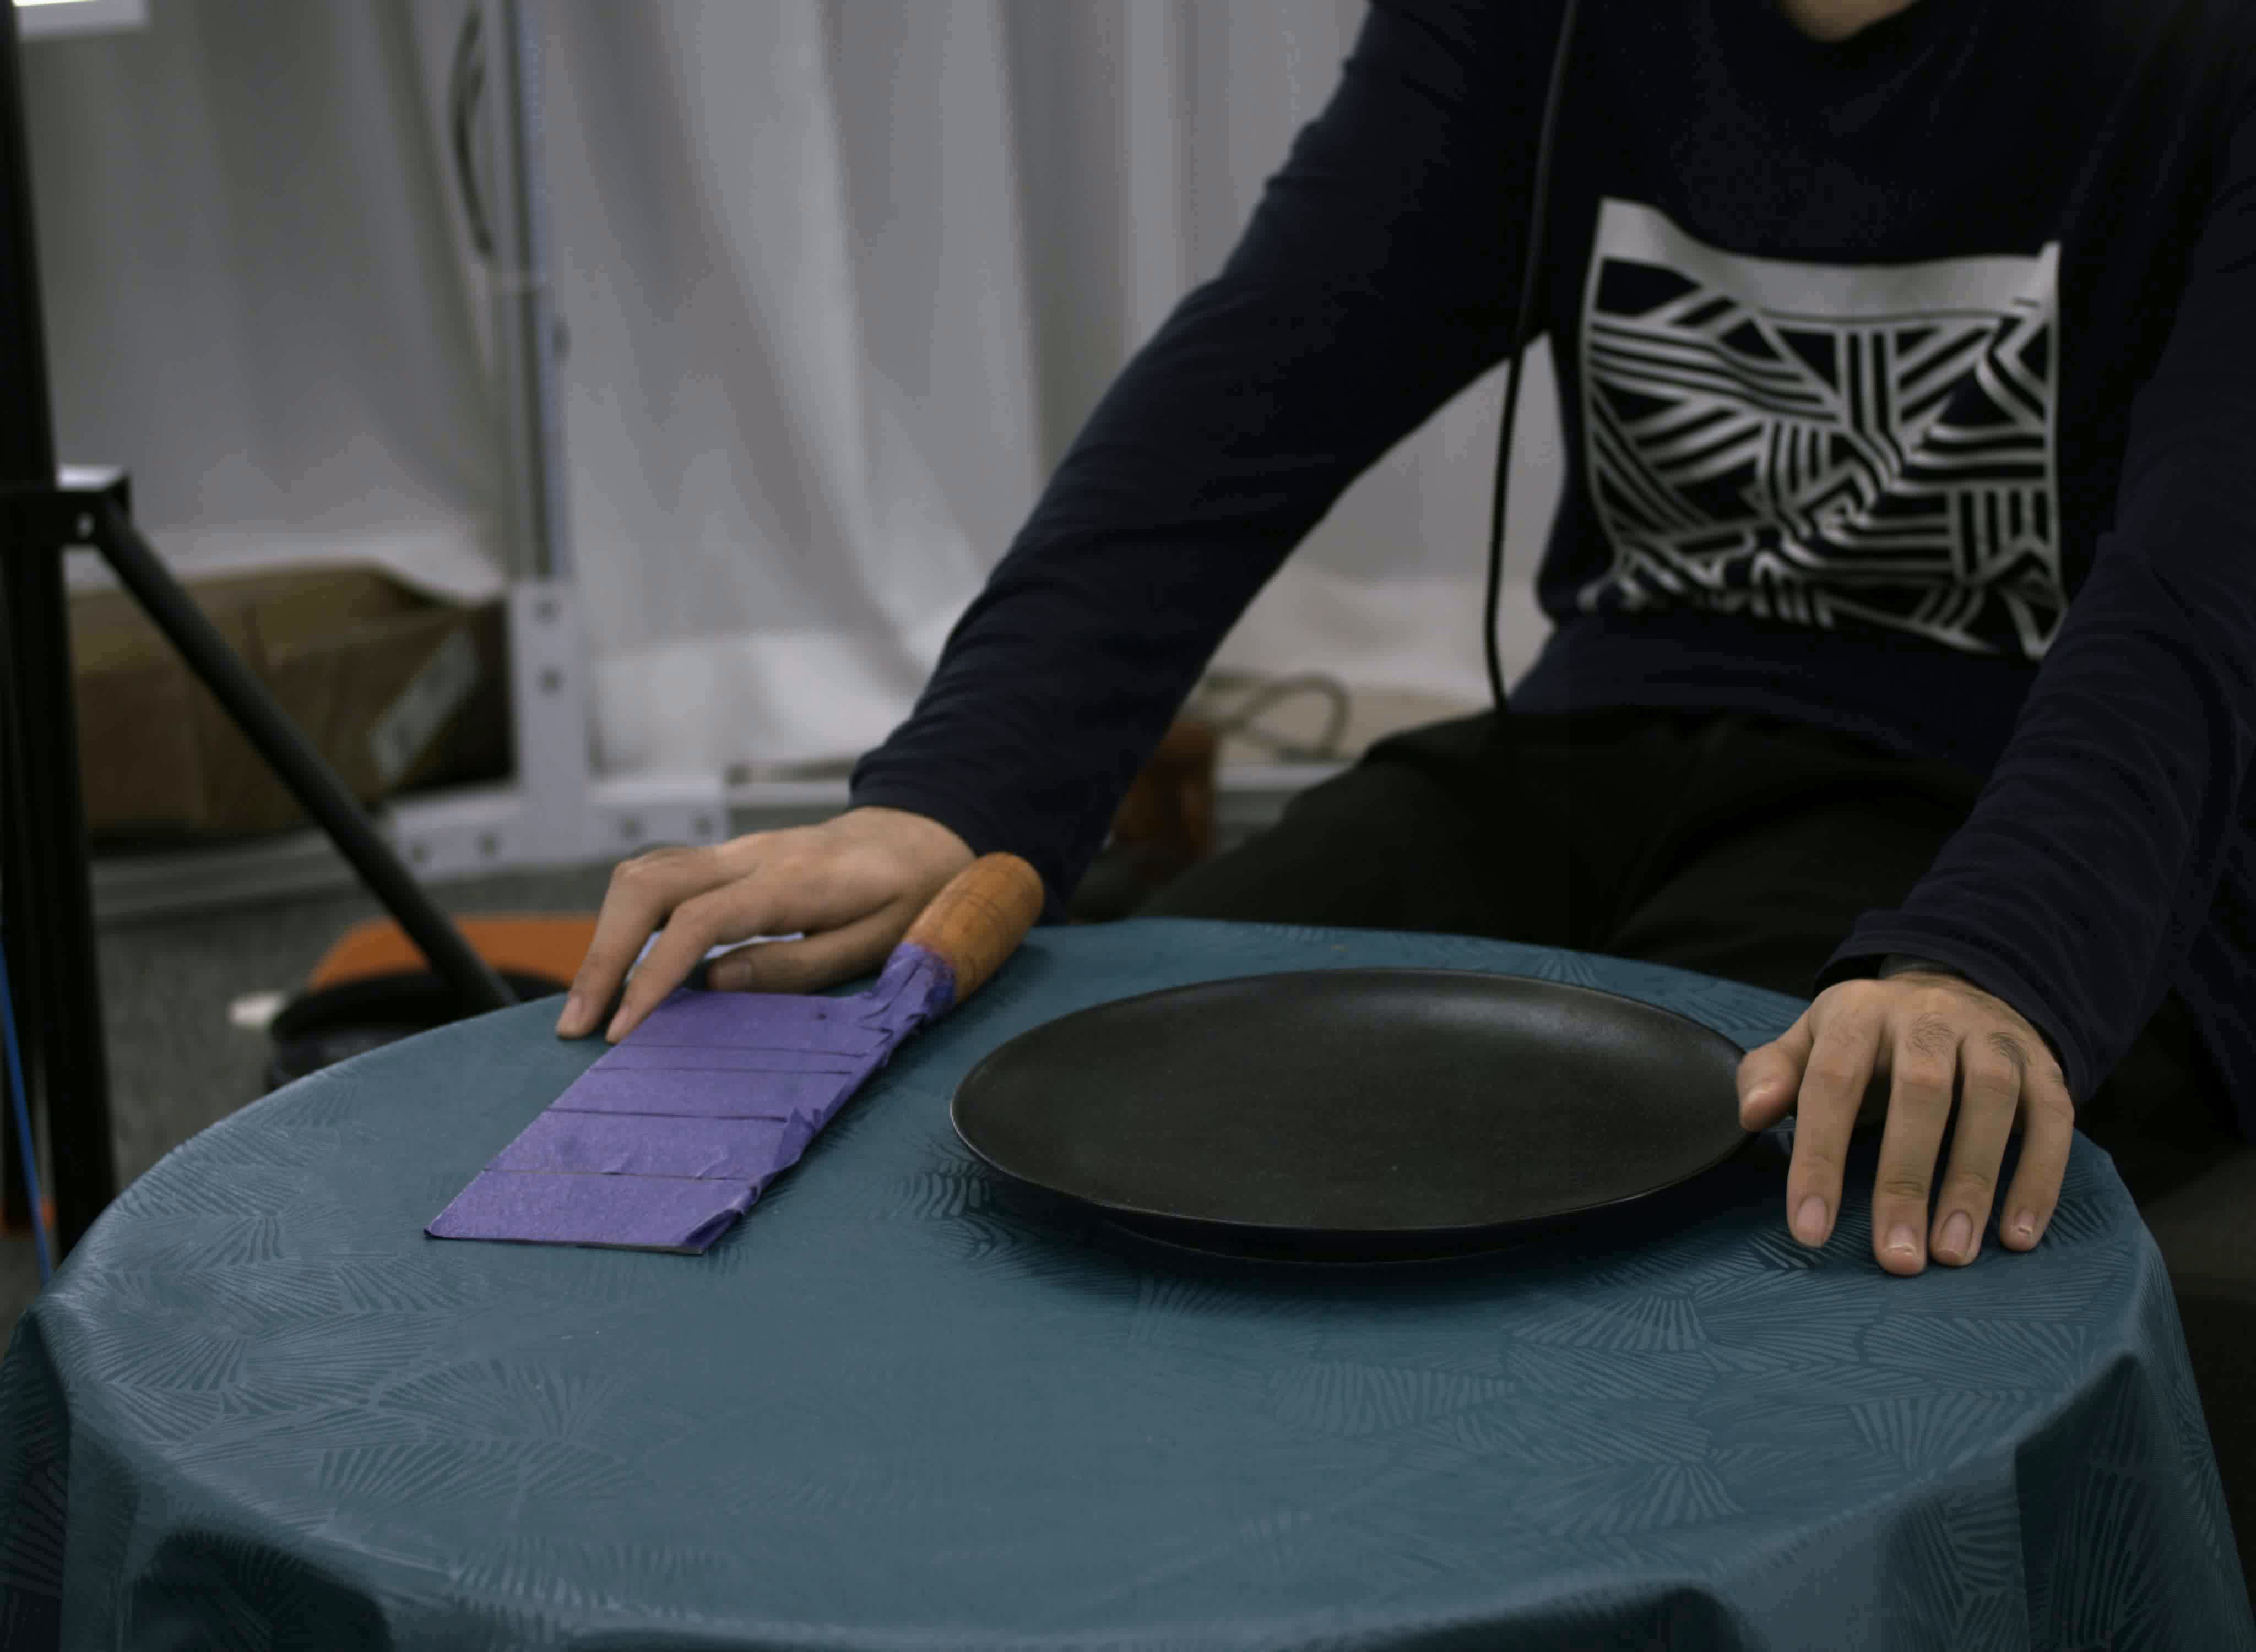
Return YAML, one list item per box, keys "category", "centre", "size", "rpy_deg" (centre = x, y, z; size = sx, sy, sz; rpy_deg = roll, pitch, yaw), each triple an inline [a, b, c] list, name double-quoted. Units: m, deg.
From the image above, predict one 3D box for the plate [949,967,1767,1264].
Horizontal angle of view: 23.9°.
- category: "plate"
  centre: [0.068, 0.089, 1.579]
  size: [0.243, 0.023, 0.245]
  rpy_deg: [-3, 16, -1]

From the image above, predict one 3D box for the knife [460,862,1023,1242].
- category: "knife"
  centre: [-0.118, 0.068, 1.674]
  size: [0.105, 0.032, 0.312]
  rpy_deg: [3, 17, 16]
